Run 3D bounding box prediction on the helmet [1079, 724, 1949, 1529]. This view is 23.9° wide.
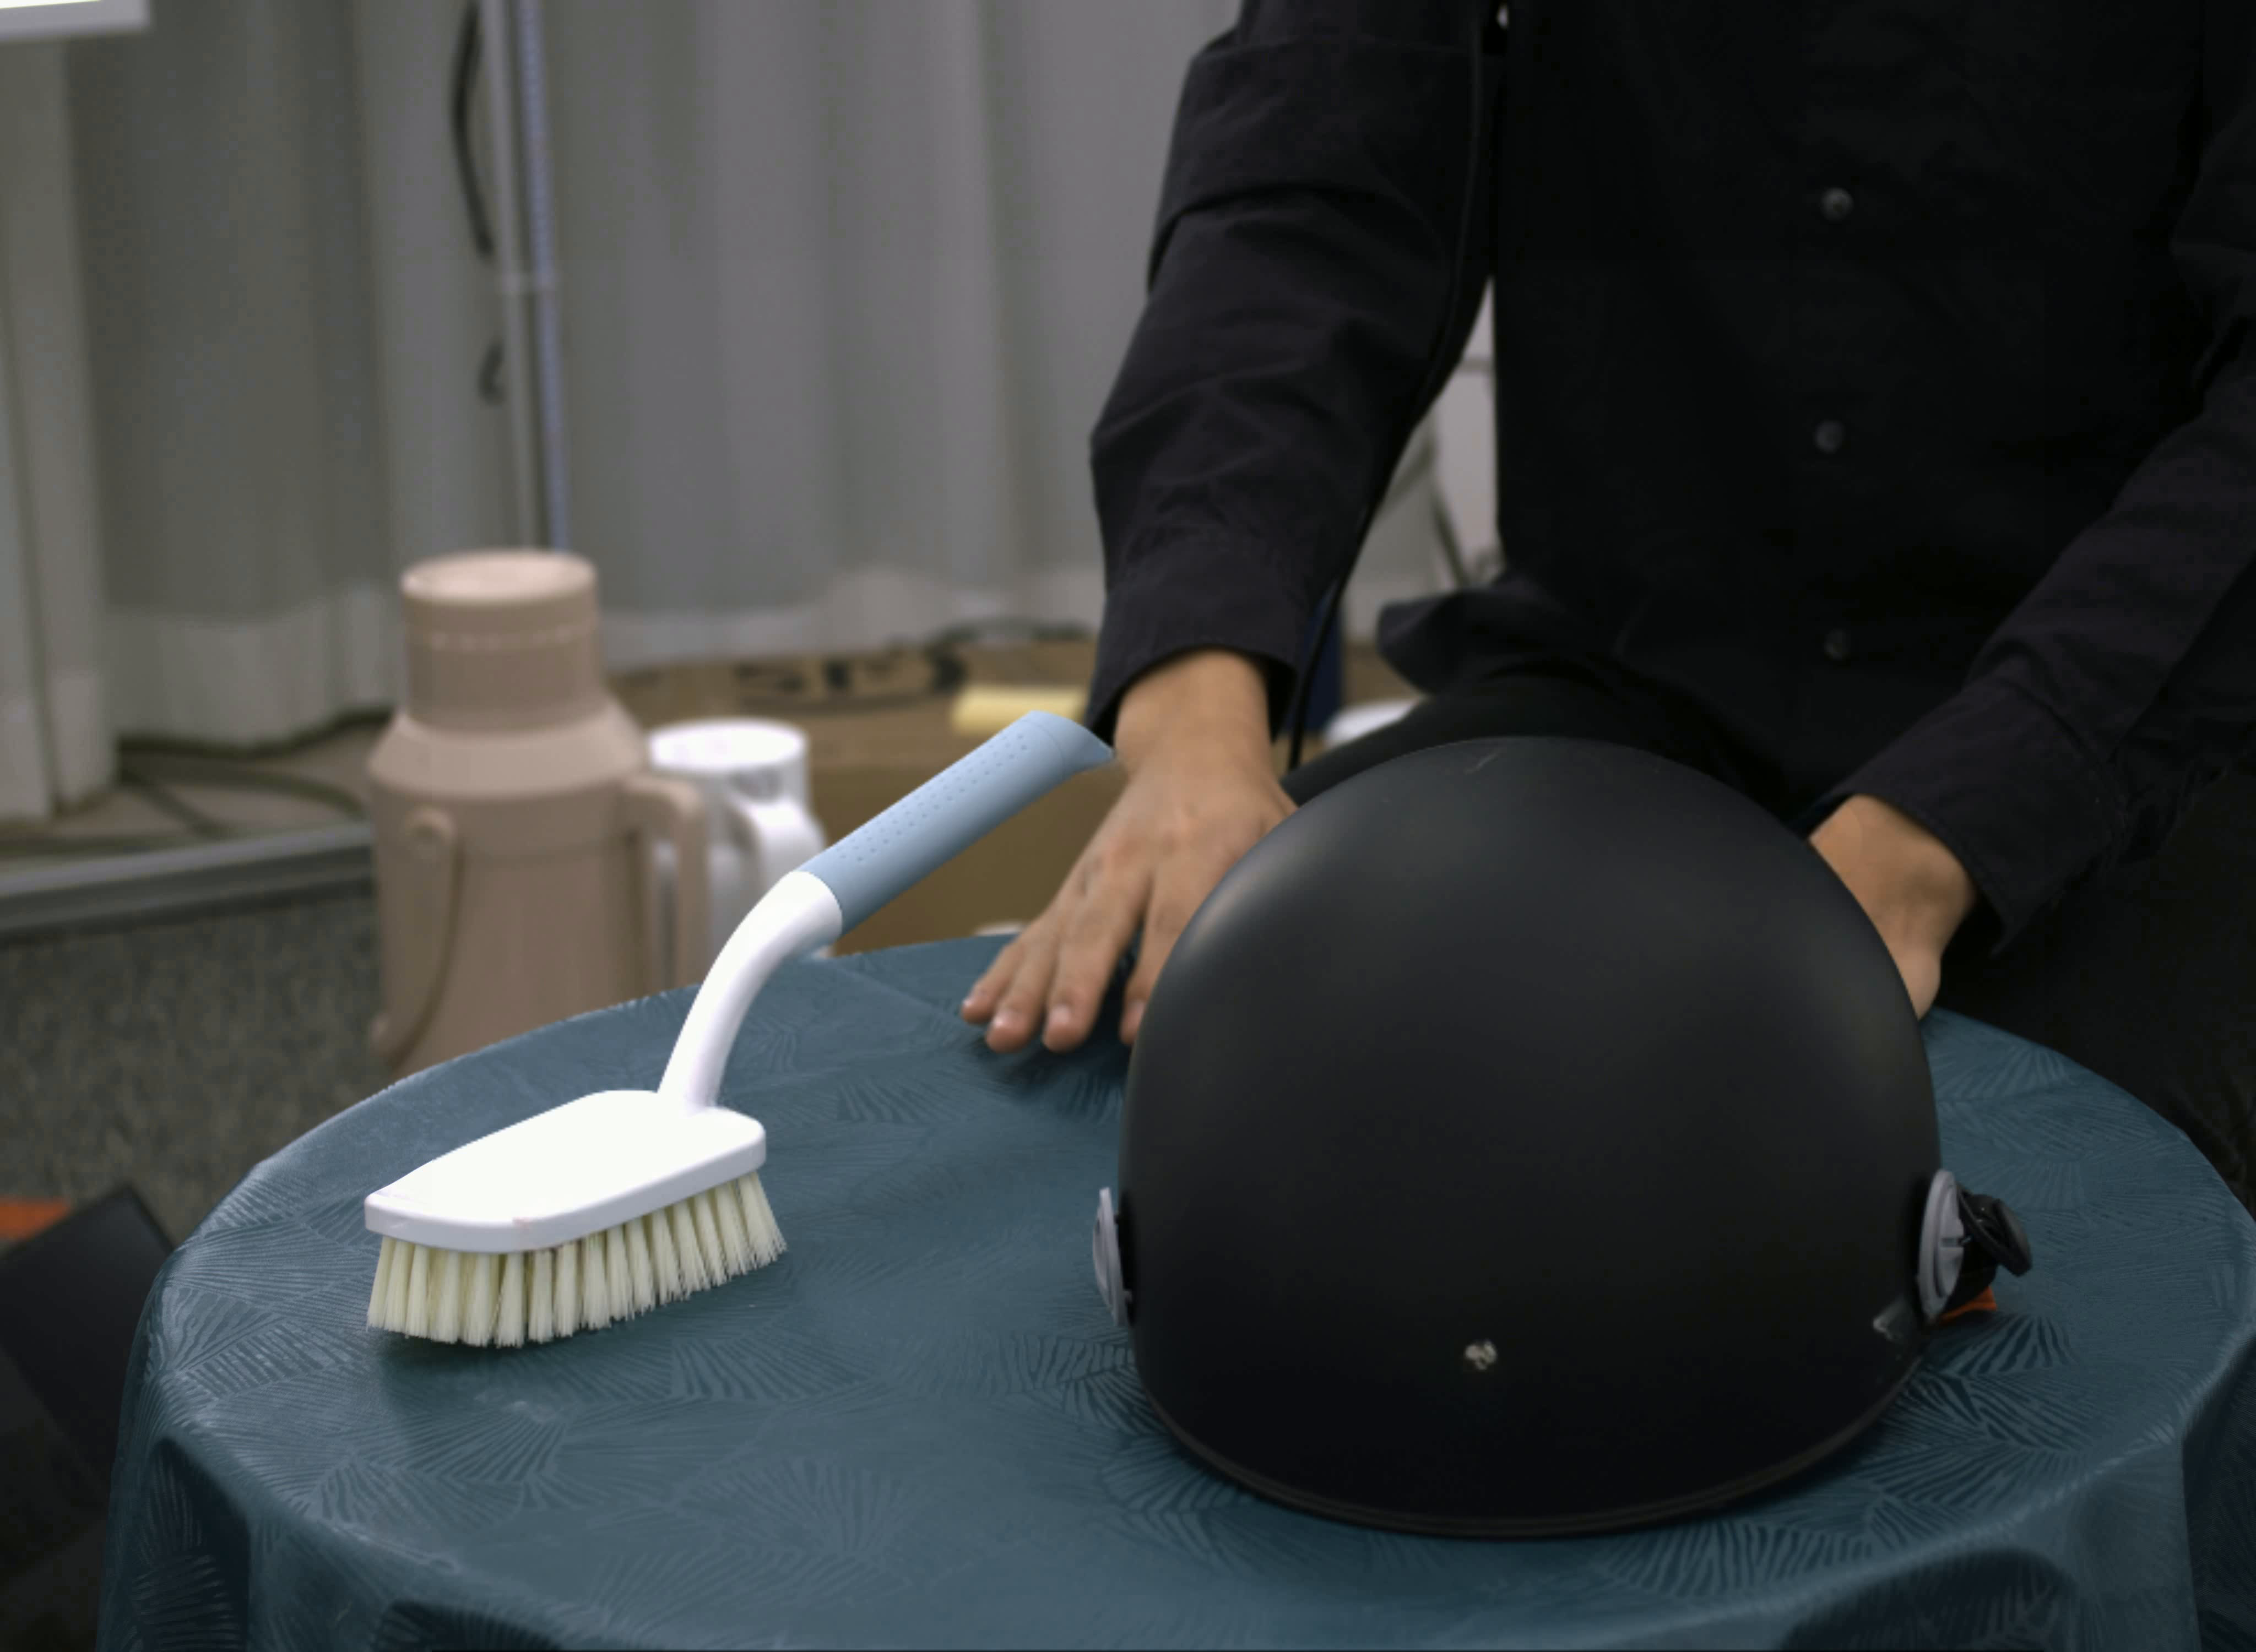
[{"bbox_3d":[0.103,0.065,1.414,0.231,0.166,0.272,-2,18,11],"label":"helmet"}]

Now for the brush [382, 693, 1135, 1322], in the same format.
[{"bbox_3d":[-0.094,0.067,1.570,0.084,0.085,0.320,42,48,15],"label":"brush"}]
